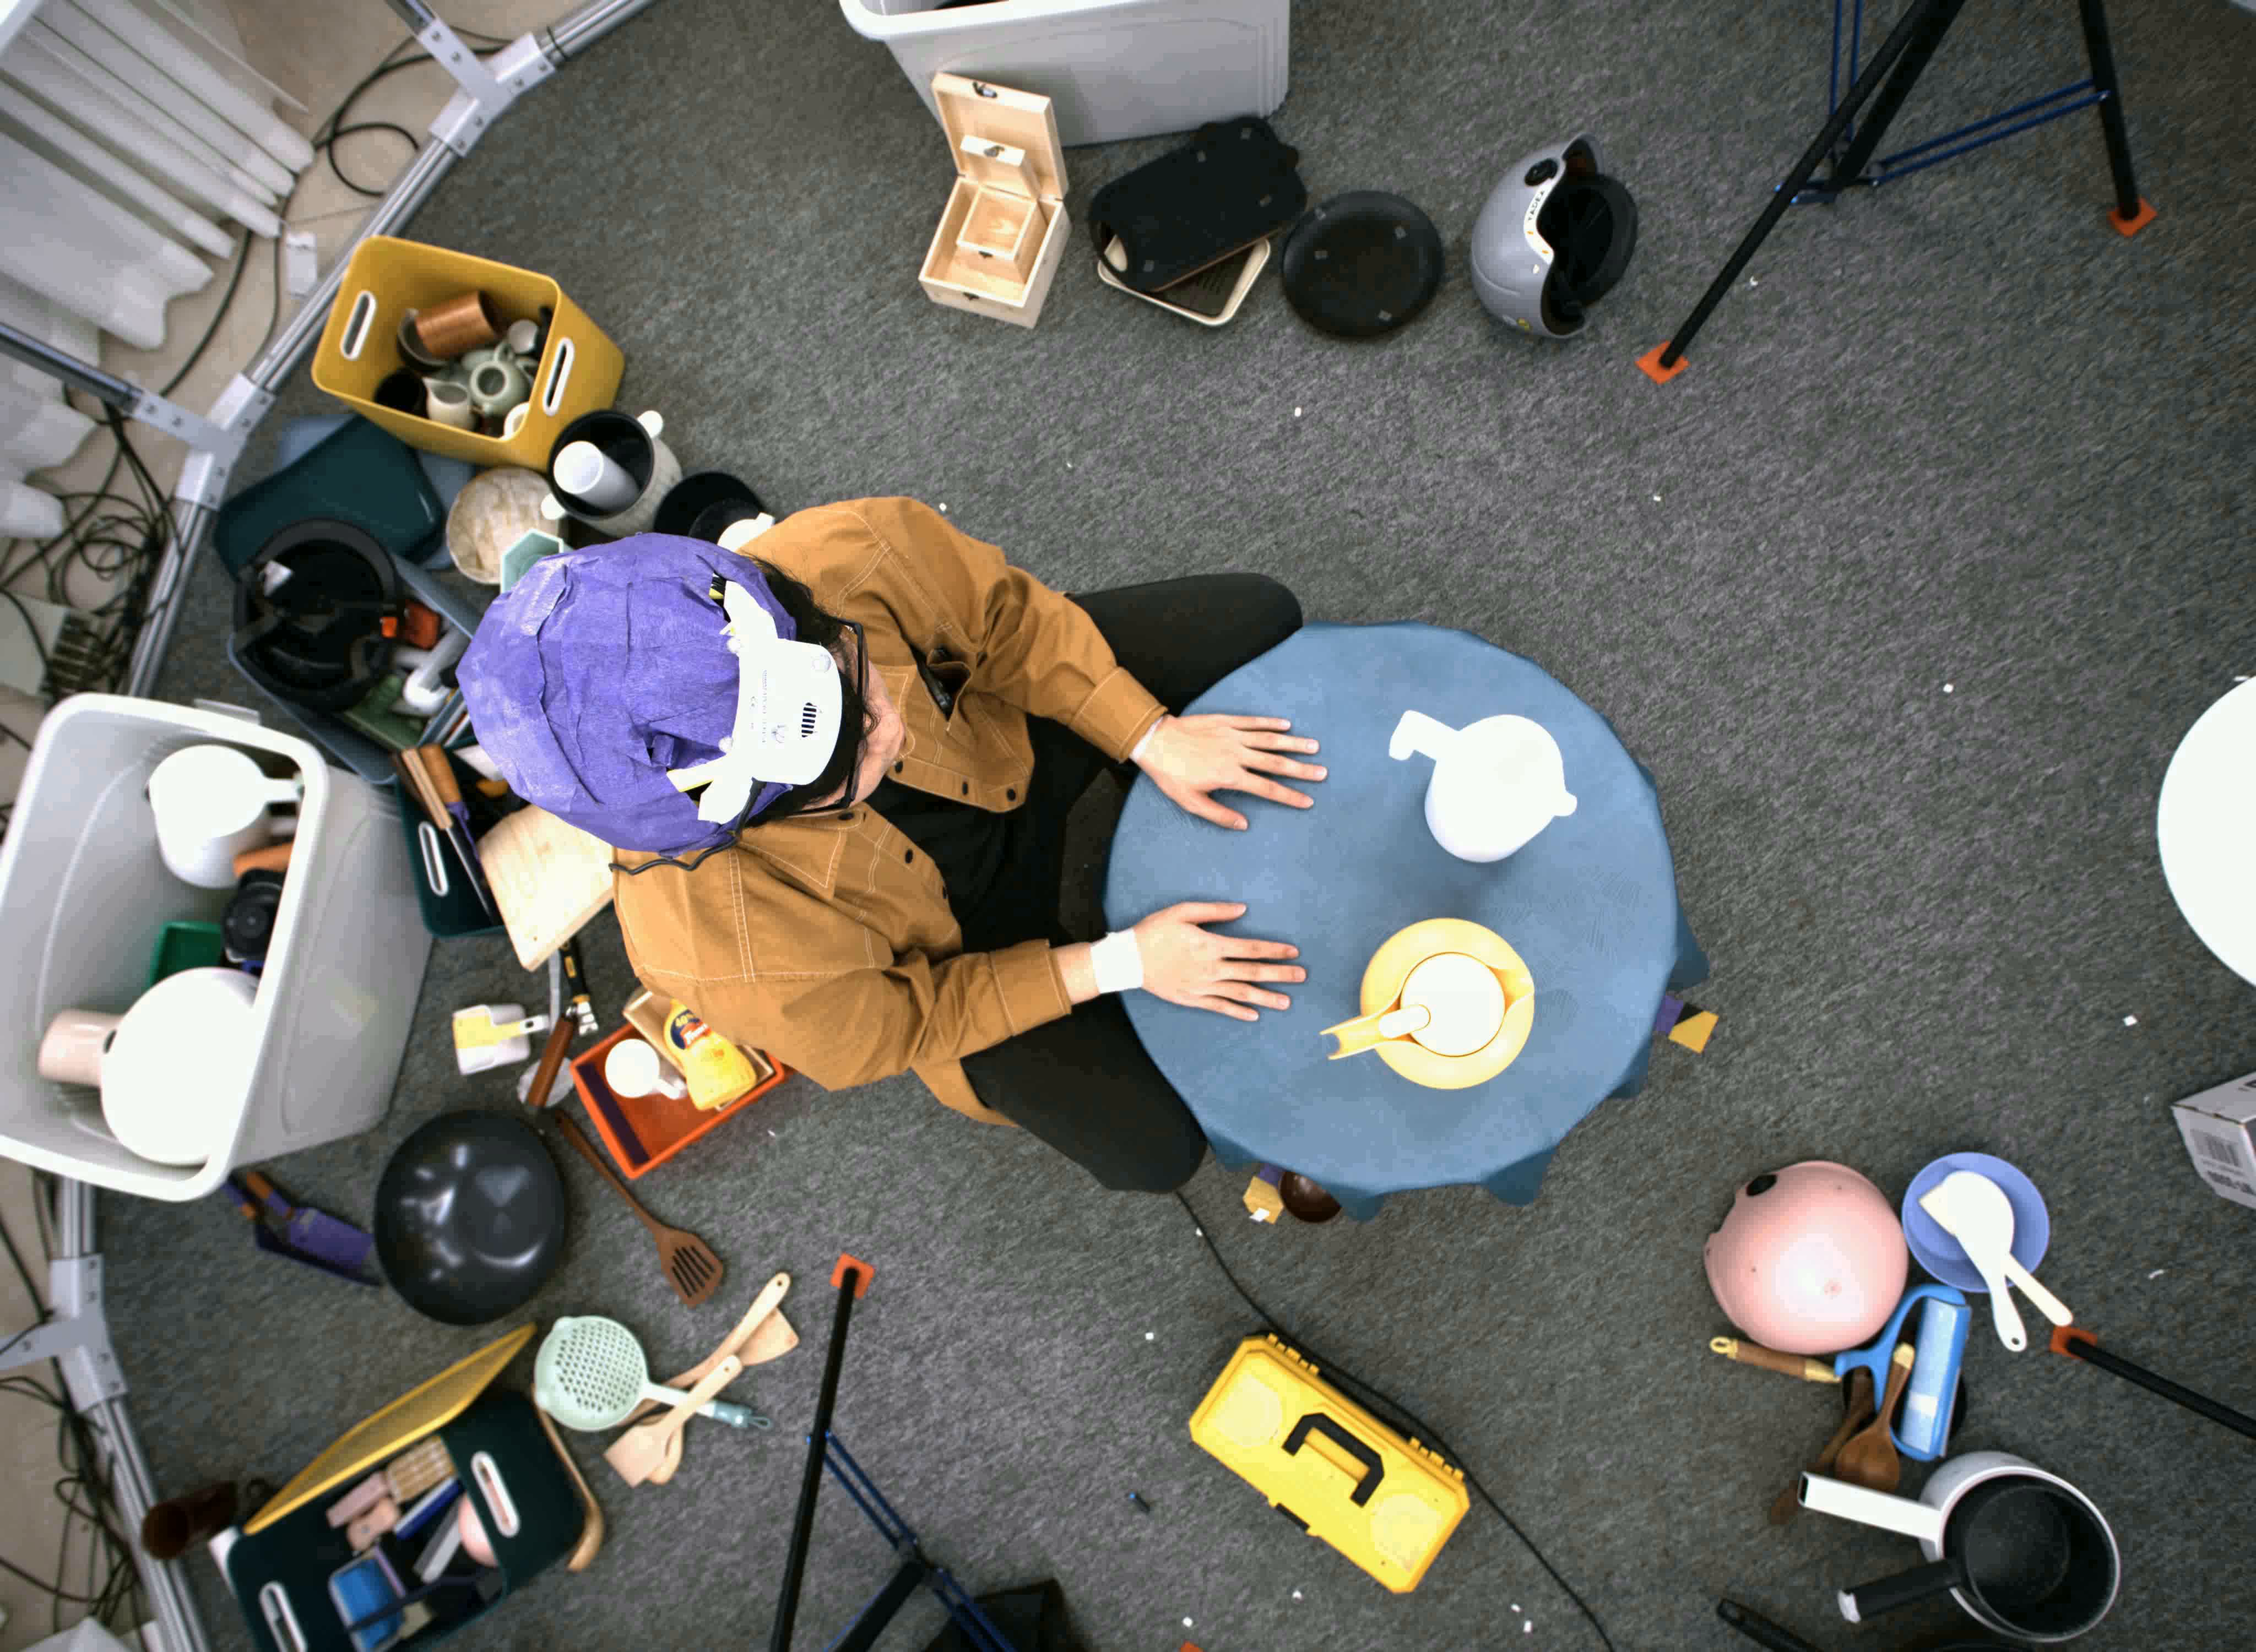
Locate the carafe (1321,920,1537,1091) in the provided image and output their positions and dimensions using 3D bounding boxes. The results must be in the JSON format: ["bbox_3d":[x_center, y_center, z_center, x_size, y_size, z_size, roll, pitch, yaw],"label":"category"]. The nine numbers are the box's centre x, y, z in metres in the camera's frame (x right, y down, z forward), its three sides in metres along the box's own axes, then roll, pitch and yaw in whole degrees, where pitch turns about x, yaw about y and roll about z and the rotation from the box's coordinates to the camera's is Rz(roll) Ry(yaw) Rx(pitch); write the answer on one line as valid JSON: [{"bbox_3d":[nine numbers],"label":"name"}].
[{"bbox_3d":[0.285,0.174,1.320,0.203,0.261,0.162,-18,79,7],"label":"carafe"}]

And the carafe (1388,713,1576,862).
[{"bbox_3d":[0.332,-0.041,1.319,0.172,0.268,0.124,28,92,12],"label":"carafe"}]
